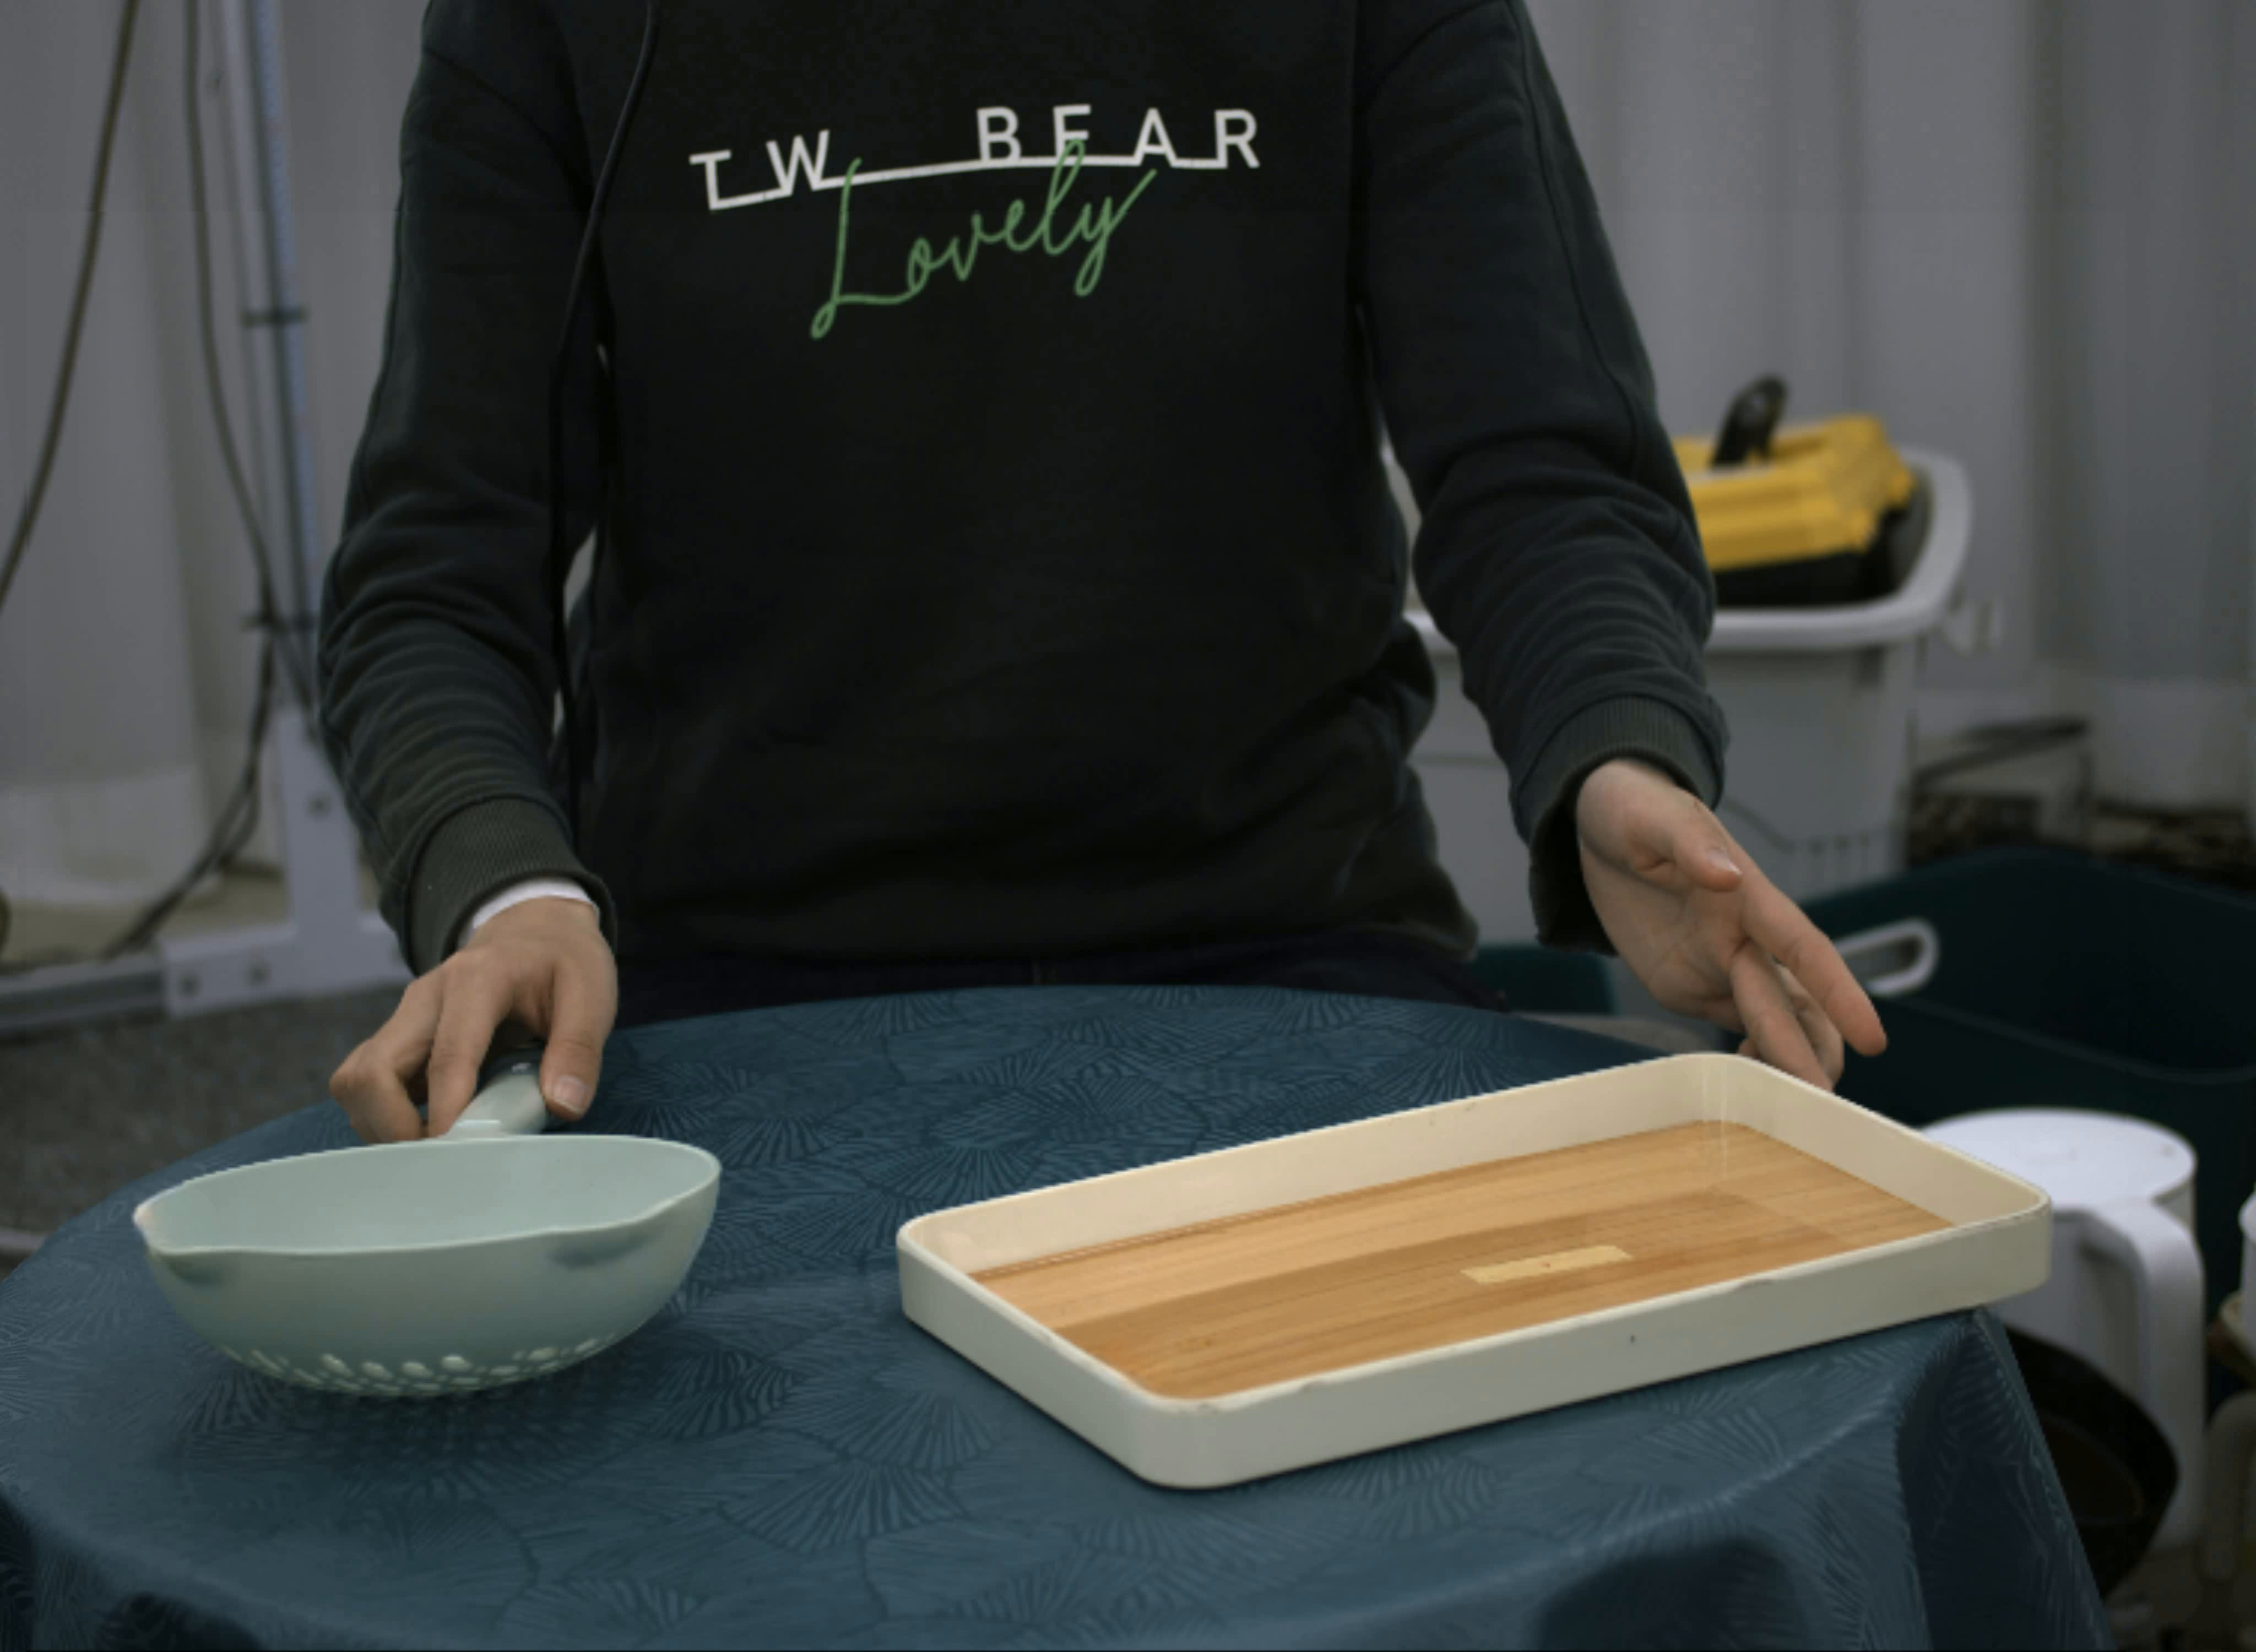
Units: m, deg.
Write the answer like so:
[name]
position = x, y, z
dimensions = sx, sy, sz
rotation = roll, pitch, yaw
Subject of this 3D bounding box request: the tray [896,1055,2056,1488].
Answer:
[tray]
position = 0.101, 0.126, 1.602
dimensions = 0.299, 0.027, 0.193
rotation = -10, 16, -25

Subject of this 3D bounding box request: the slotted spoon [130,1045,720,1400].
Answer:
[slotted spoon]
position = -0.198, 0.105, 1.666
dimensions = 0.169, 0.075, 0.361
rotation = -3, 15, 2
